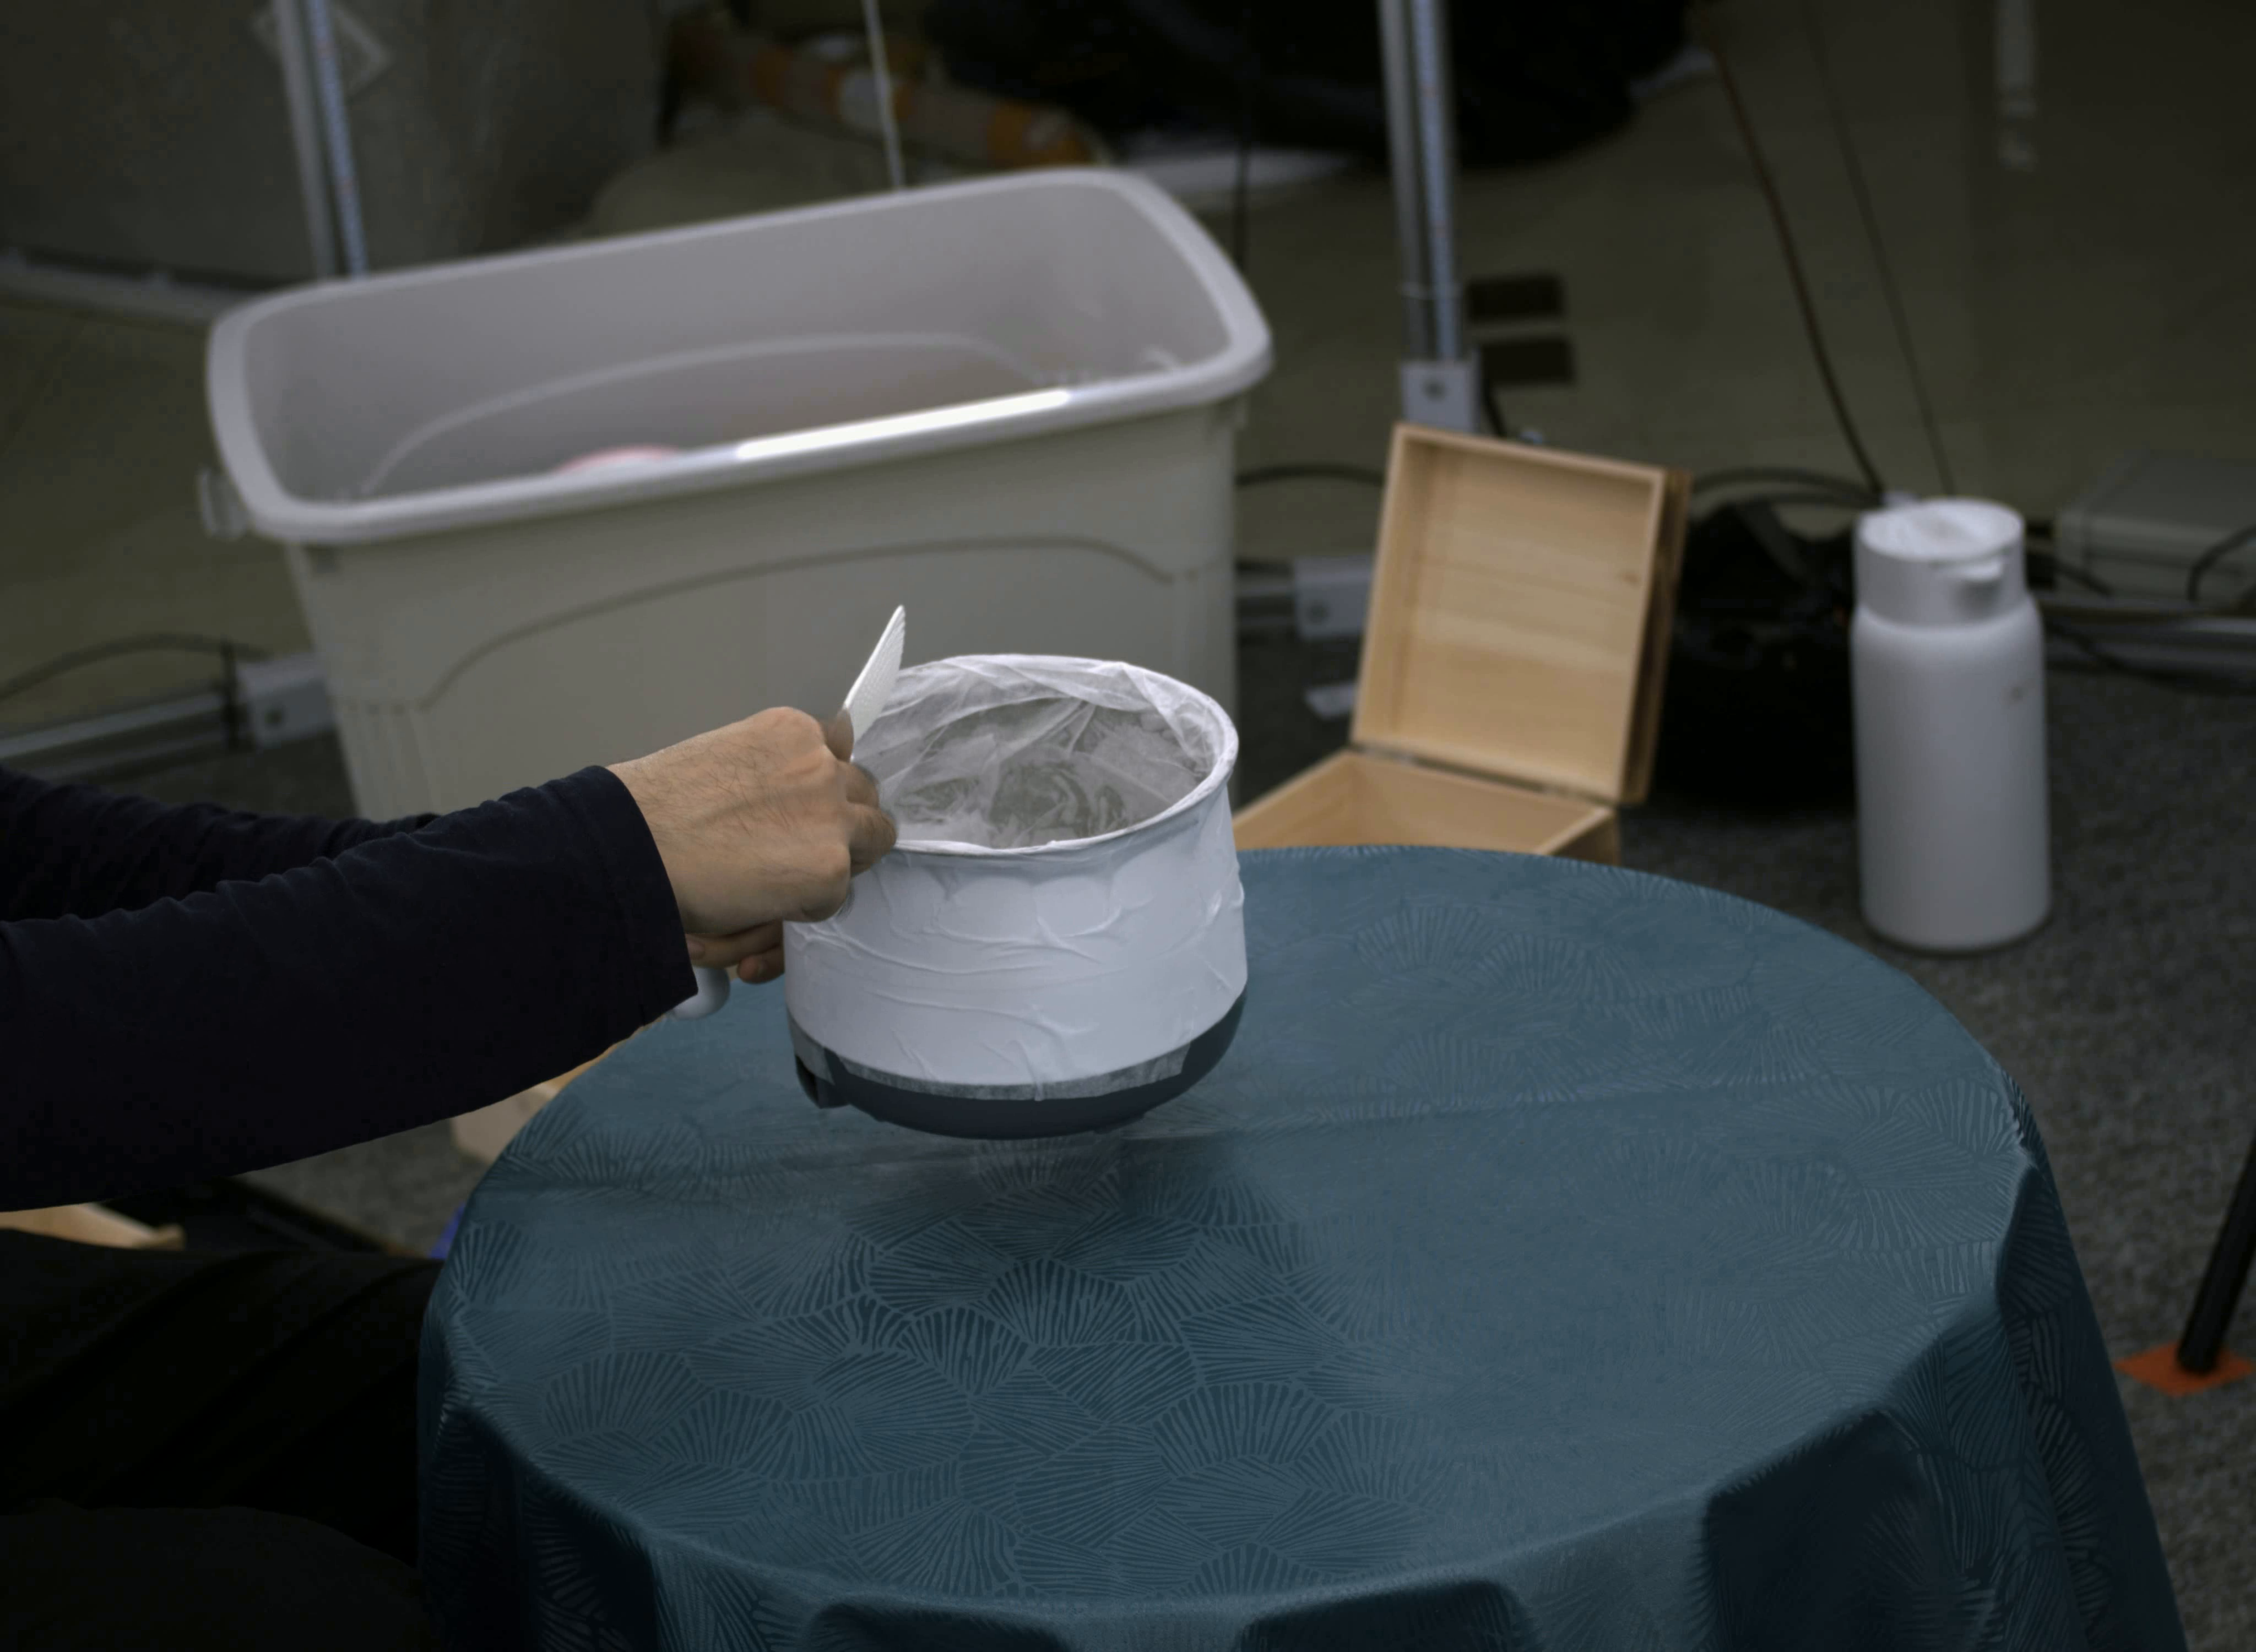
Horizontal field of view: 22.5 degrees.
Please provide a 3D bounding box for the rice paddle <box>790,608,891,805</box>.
[{"bbox_3d":[-0.107,-0.041,2.089,0.029,0.069,0.203,26,9,-6],"label":"rice paddle"}]

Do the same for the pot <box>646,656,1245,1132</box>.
[{"bbox_3d":[-0.071,0.026,2.158,0.233,0.139,0.176,3,24,8],"label":"pot"}]
